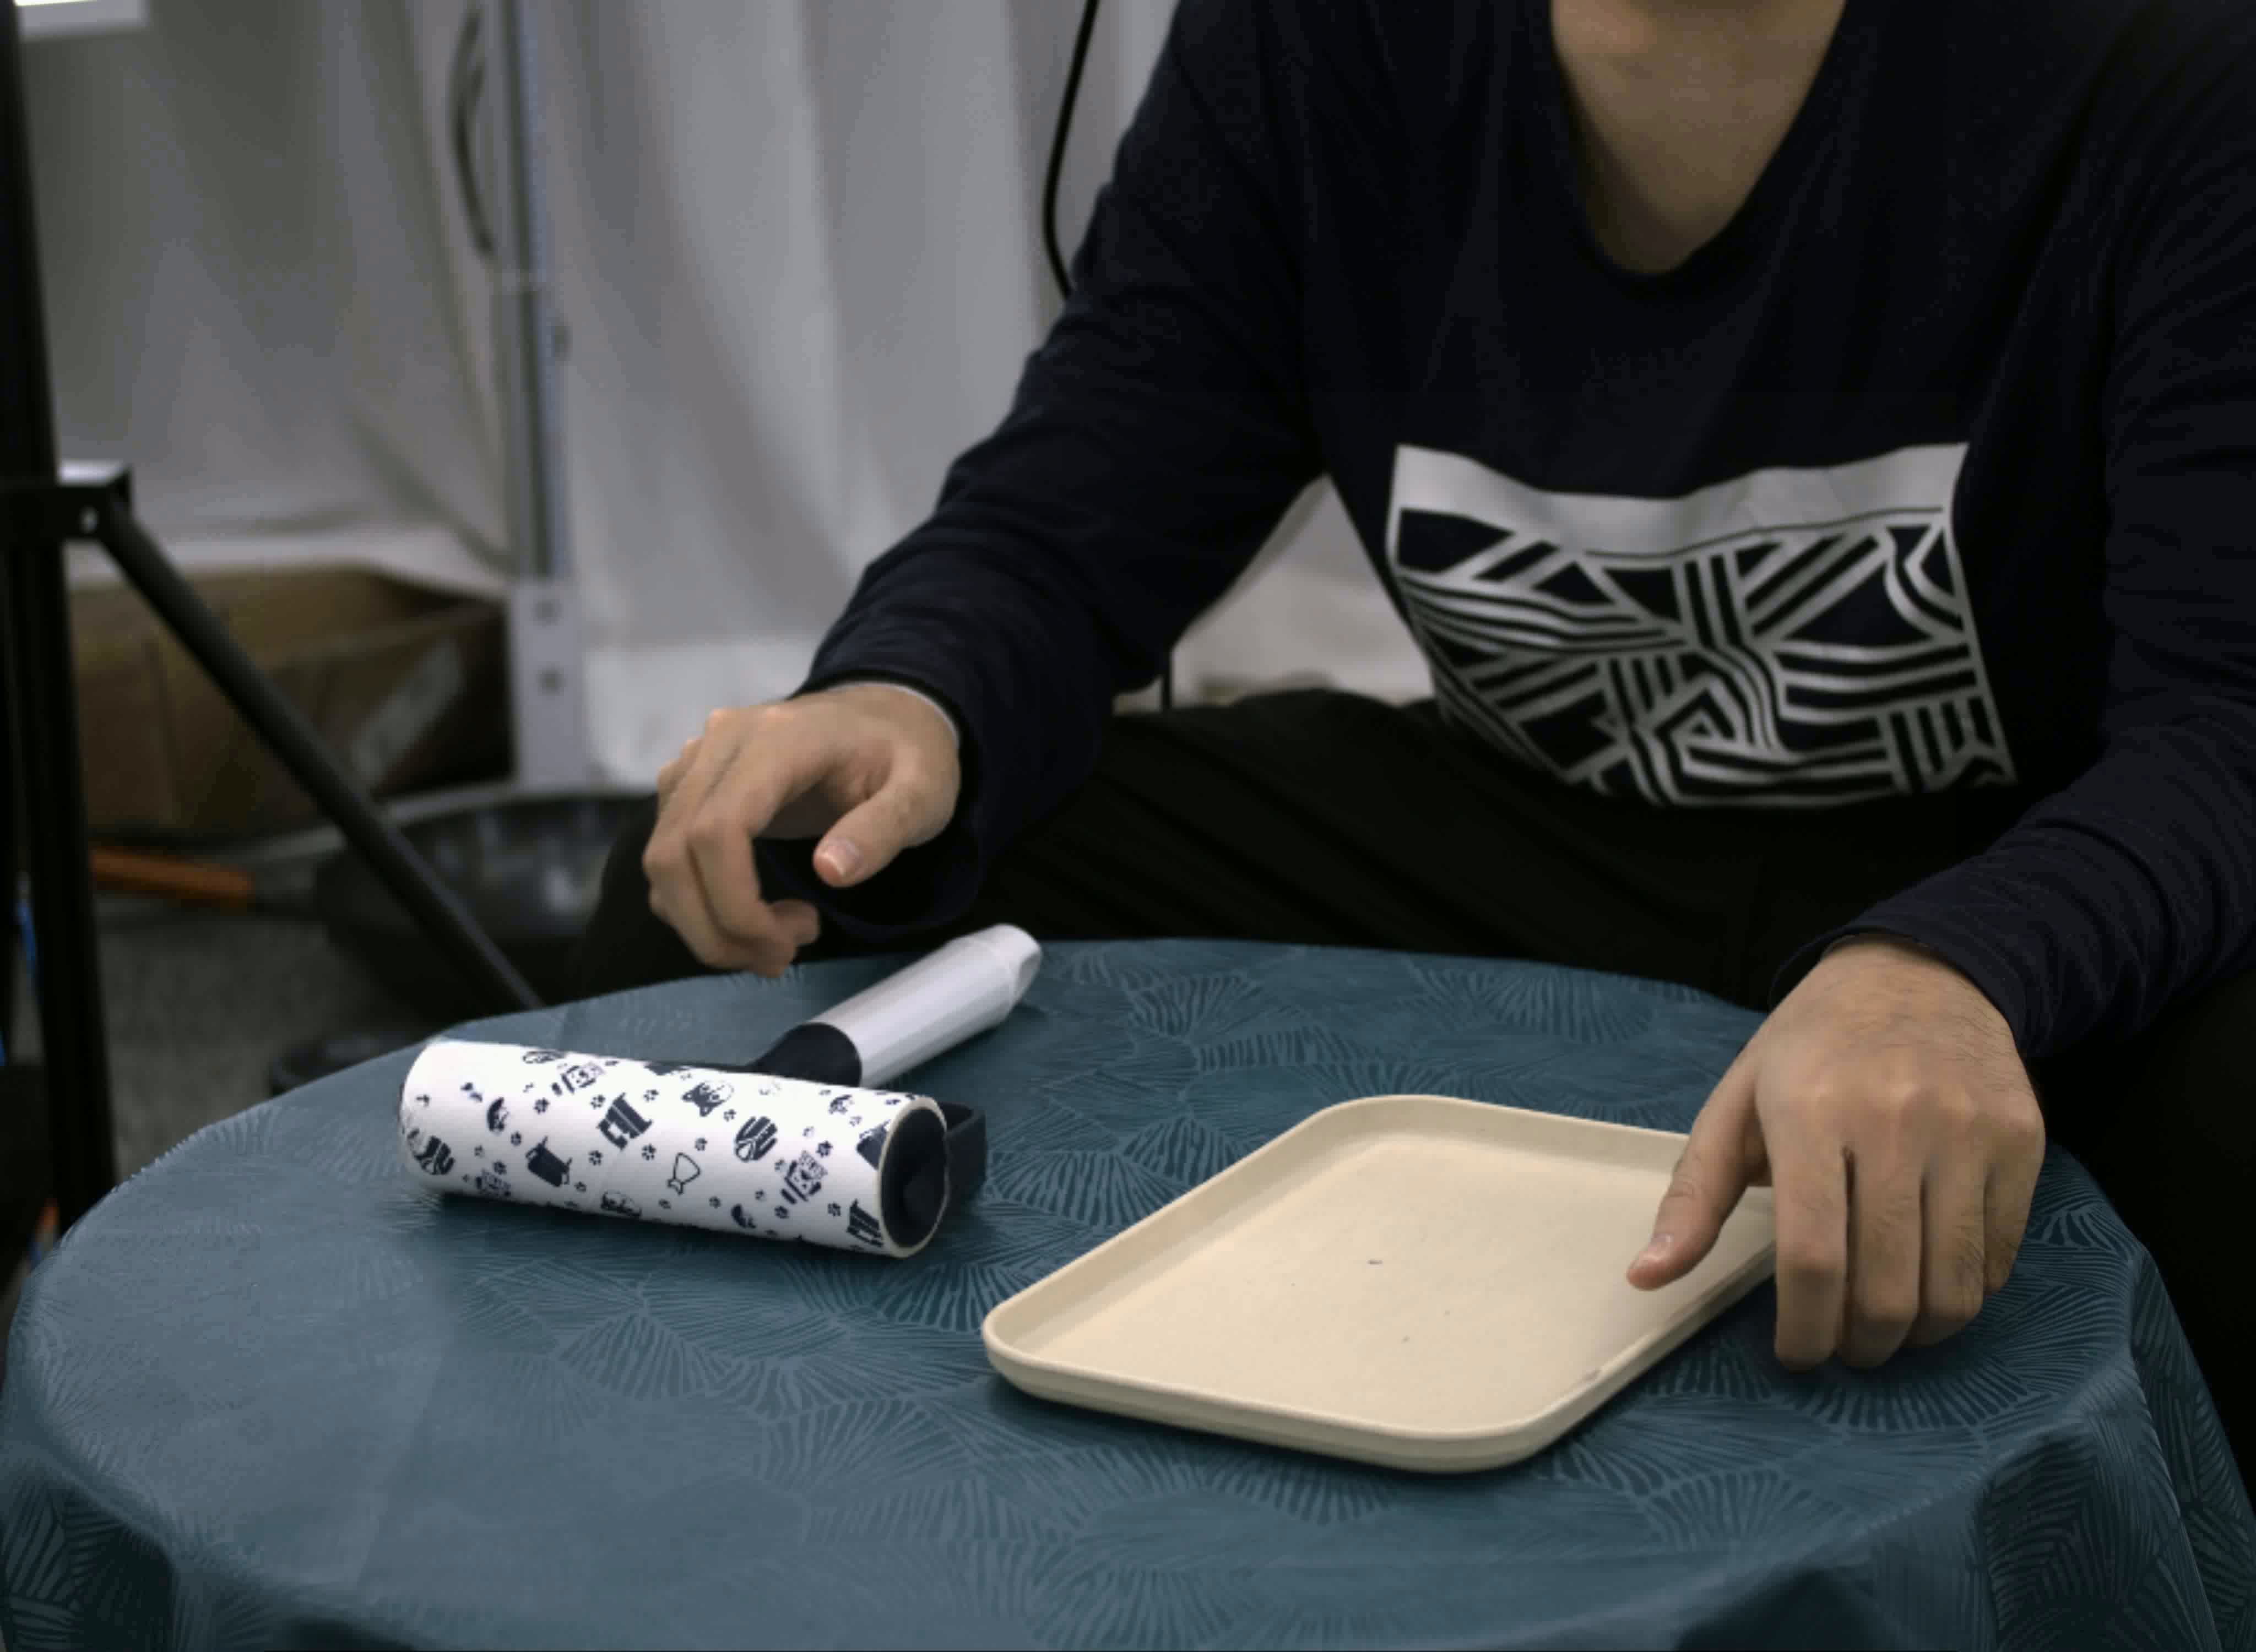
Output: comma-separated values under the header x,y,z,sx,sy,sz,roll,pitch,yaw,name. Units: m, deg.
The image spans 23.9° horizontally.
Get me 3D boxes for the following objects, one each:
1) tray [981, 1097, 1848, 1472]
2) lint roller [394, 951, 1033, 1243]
x,y,z,sx,sy,sz,roll,pitch,yaw,name
0.083,0.124,1.458,0.174,0.017,0.235,7,18,32,tray
-0.091,0.069,1.640,0.179,0.050,0.243,4,15,25,lint roller
